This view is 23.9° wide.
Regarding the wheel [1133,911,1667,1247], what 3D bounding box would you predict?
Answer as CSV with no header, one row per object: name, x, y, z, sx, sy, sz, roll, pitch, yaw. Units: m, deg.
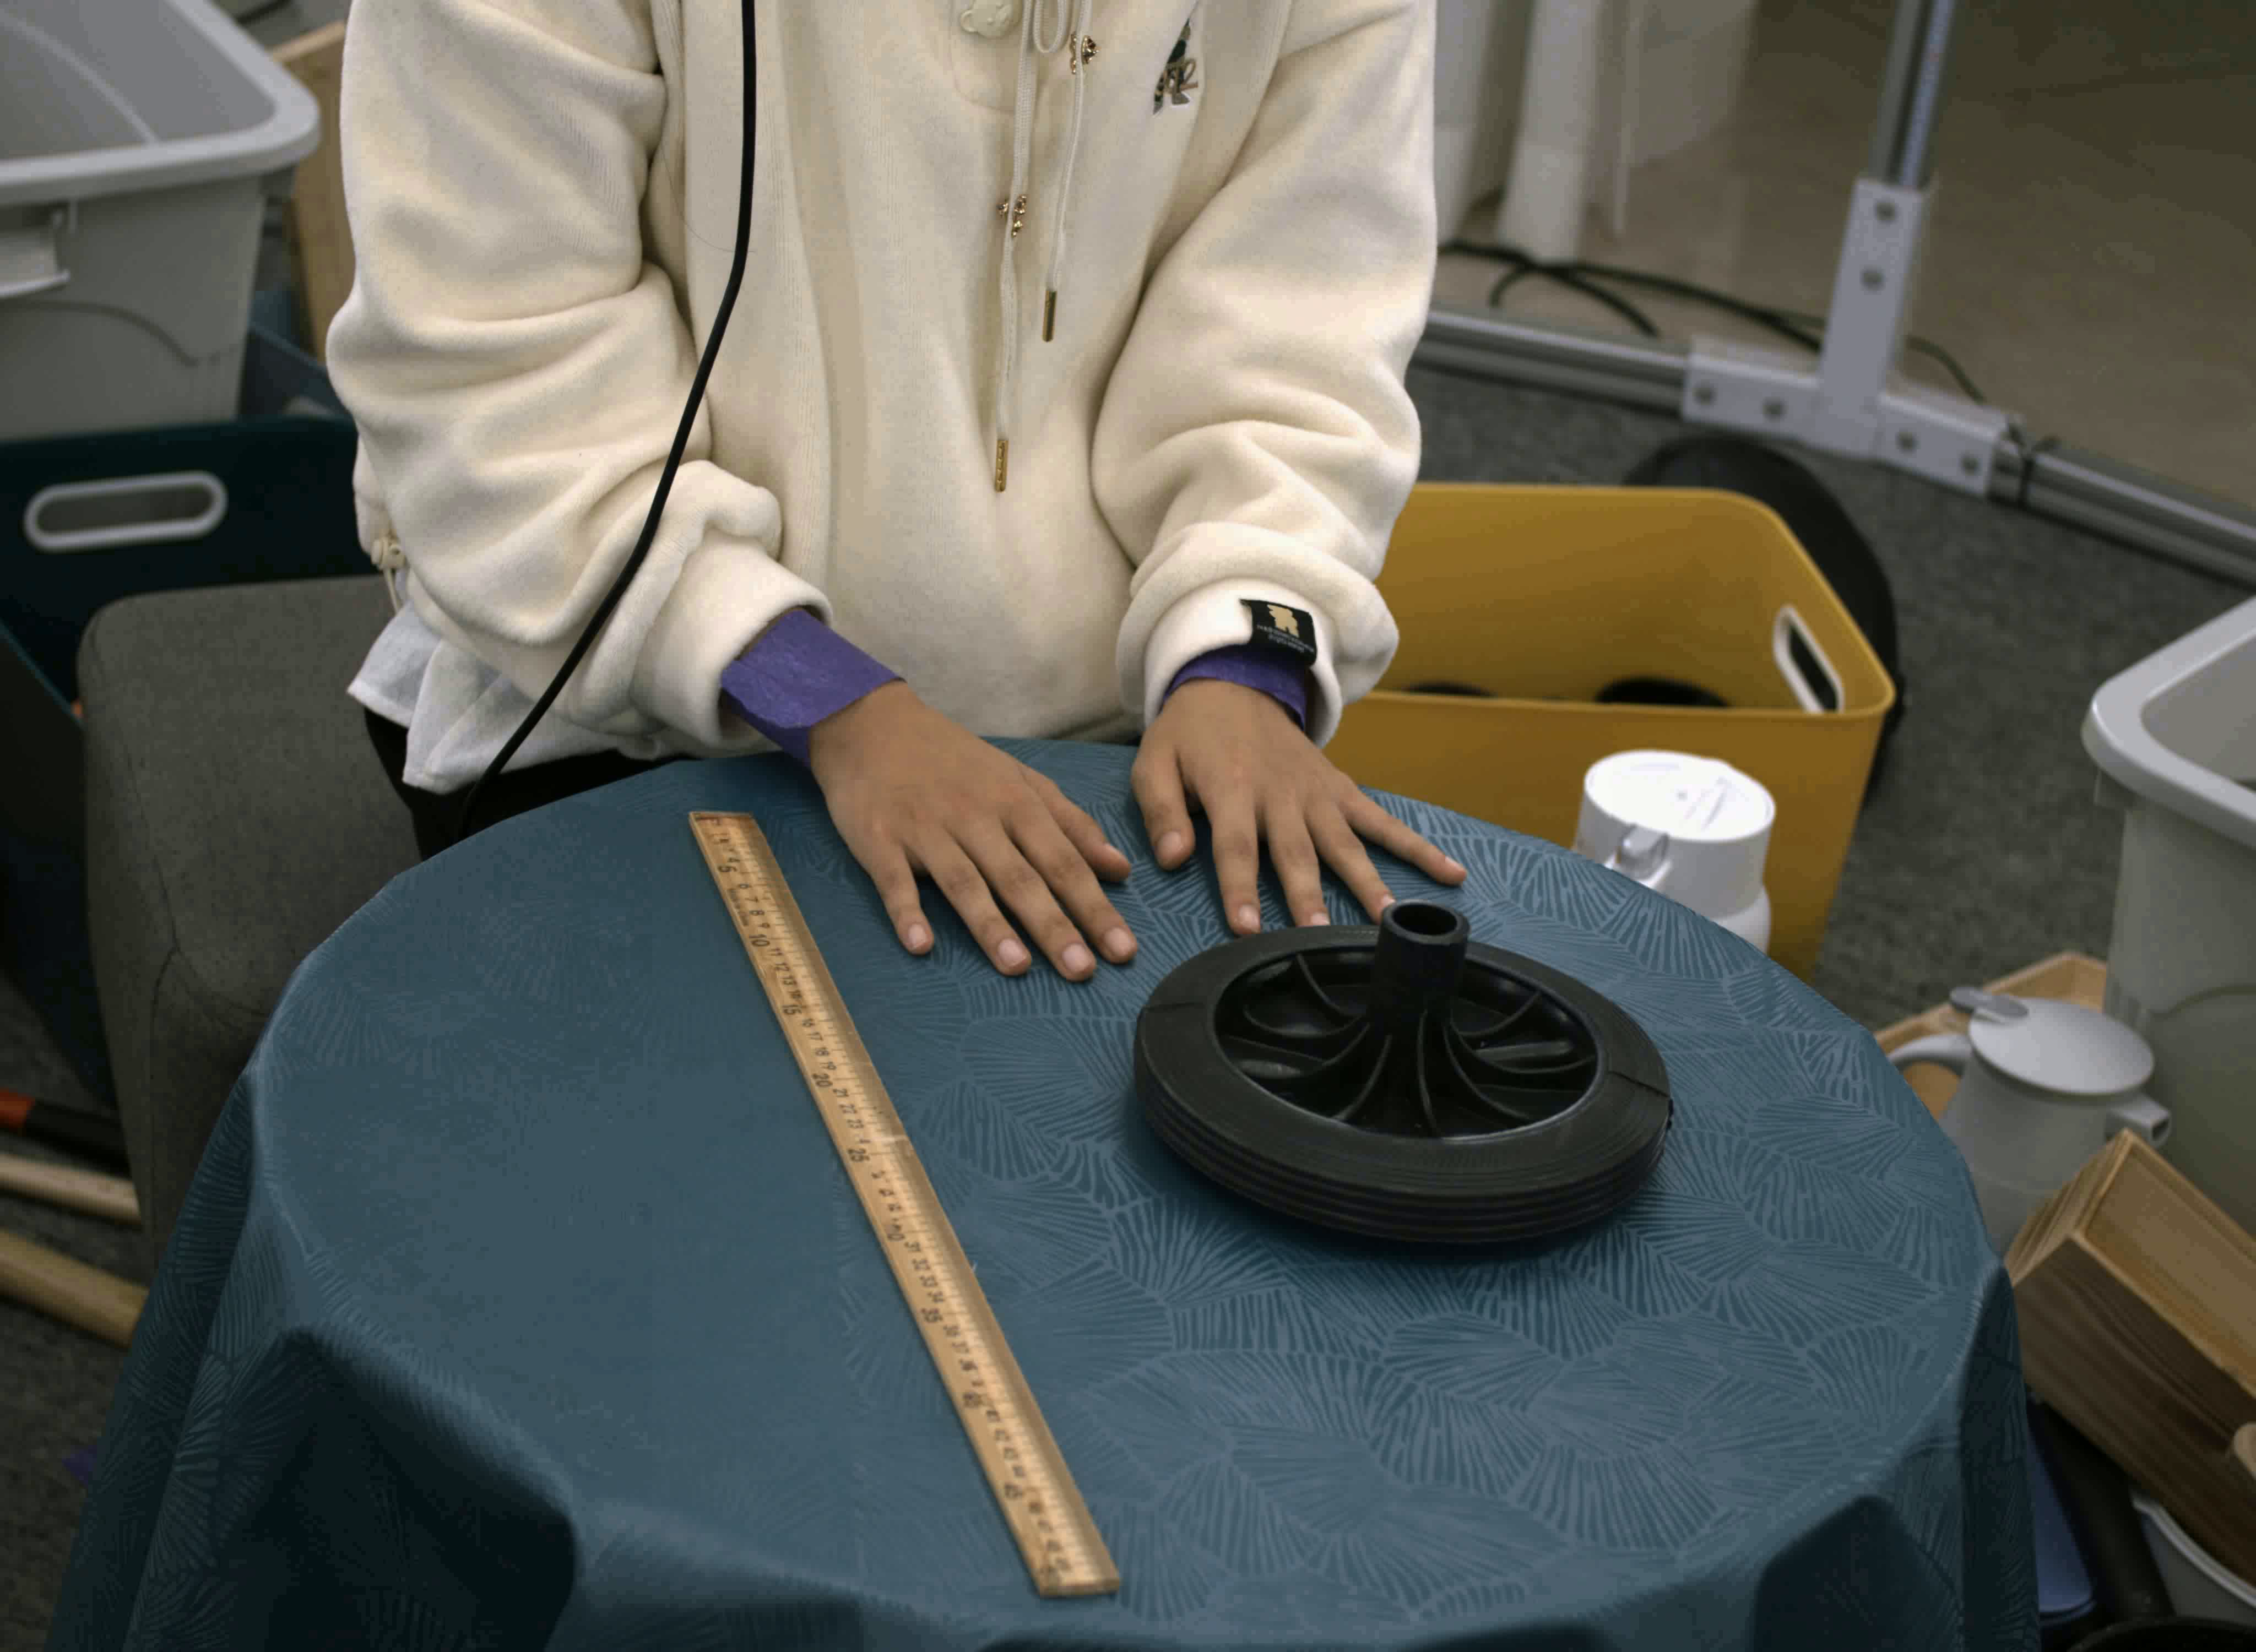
wheel,0.098,0.071,1.843,0.189,0.079,0.189,-20,37,-41

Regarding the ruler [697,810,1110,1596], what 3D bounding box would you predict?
ruler,-0.085,0.112,1.800,0.026,0.006,0.505,-3,28,-16
